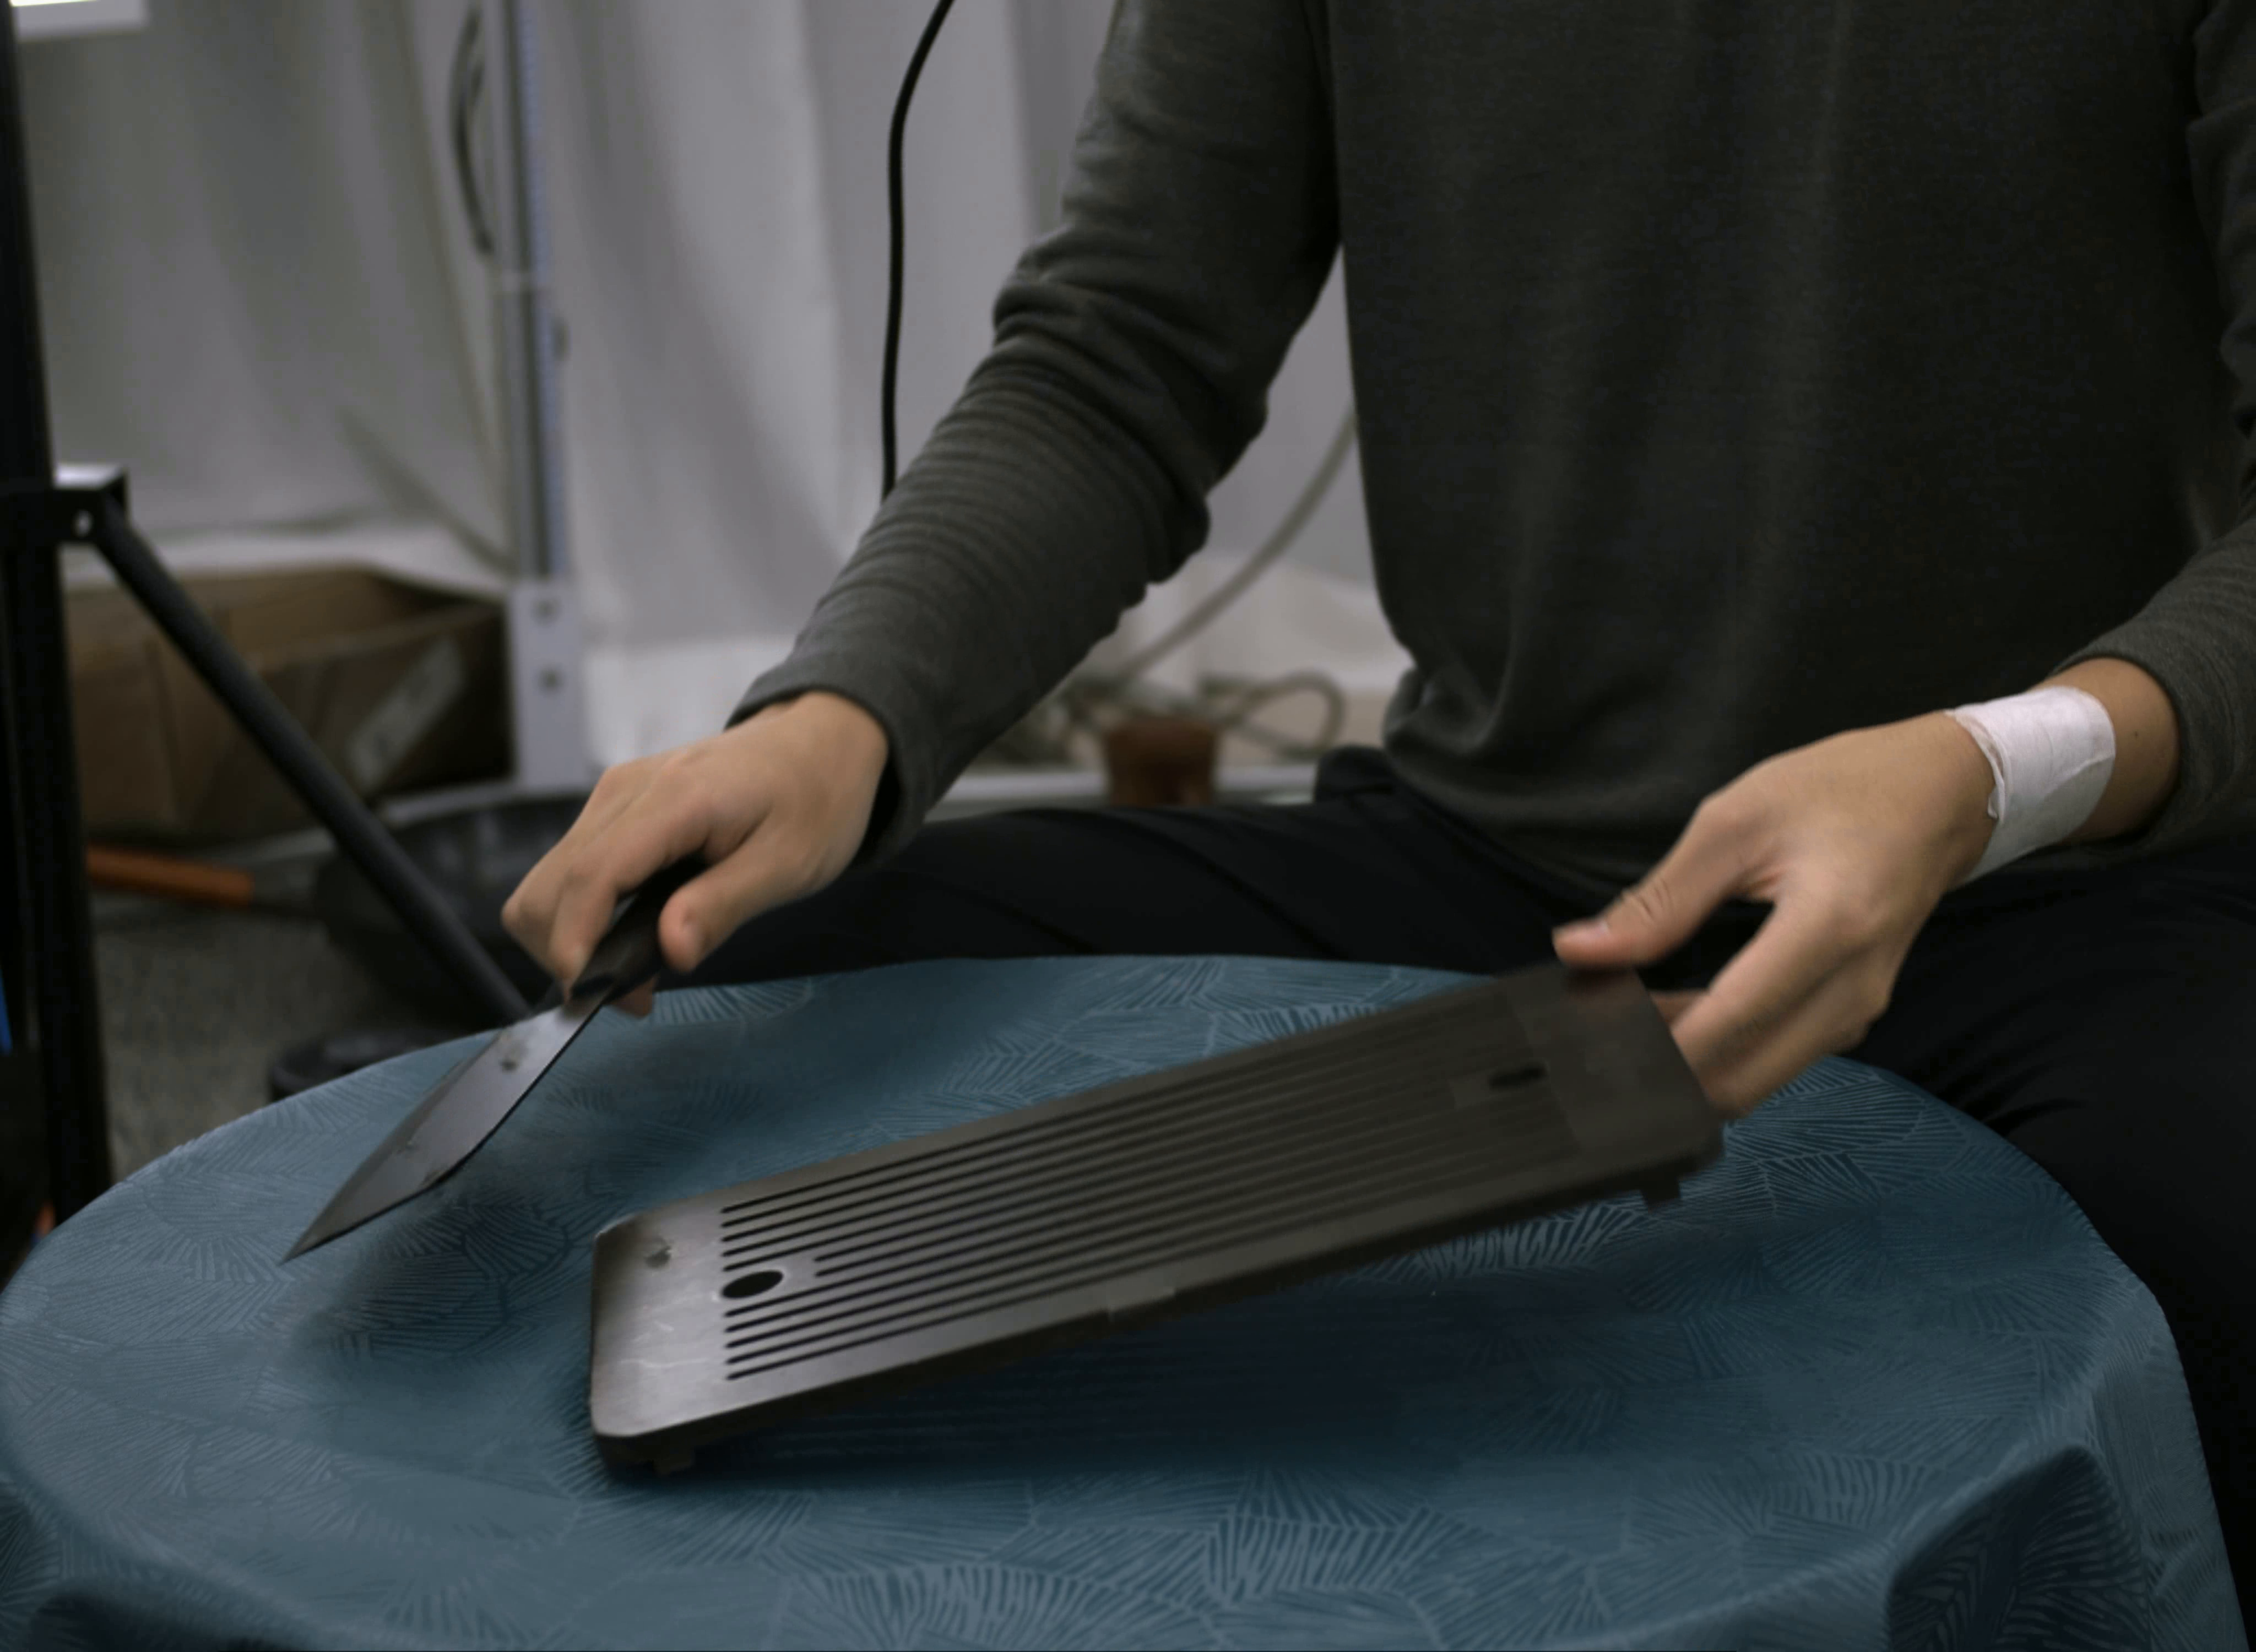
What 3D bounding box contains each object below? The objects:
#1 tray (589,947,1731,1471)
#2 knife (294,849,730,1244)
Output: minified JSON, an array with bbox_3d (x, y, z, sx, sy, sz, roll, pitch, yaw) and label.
[{"bbox_3d":[0.004,0.102,1.434,0.305,0.018,0.171,-15,16,1],"label":"tray"},{"bbox_3d":[-0.177,0.062,1.597,0.081,0.021,0.300,-28,9,21],"label":"knife"}]
